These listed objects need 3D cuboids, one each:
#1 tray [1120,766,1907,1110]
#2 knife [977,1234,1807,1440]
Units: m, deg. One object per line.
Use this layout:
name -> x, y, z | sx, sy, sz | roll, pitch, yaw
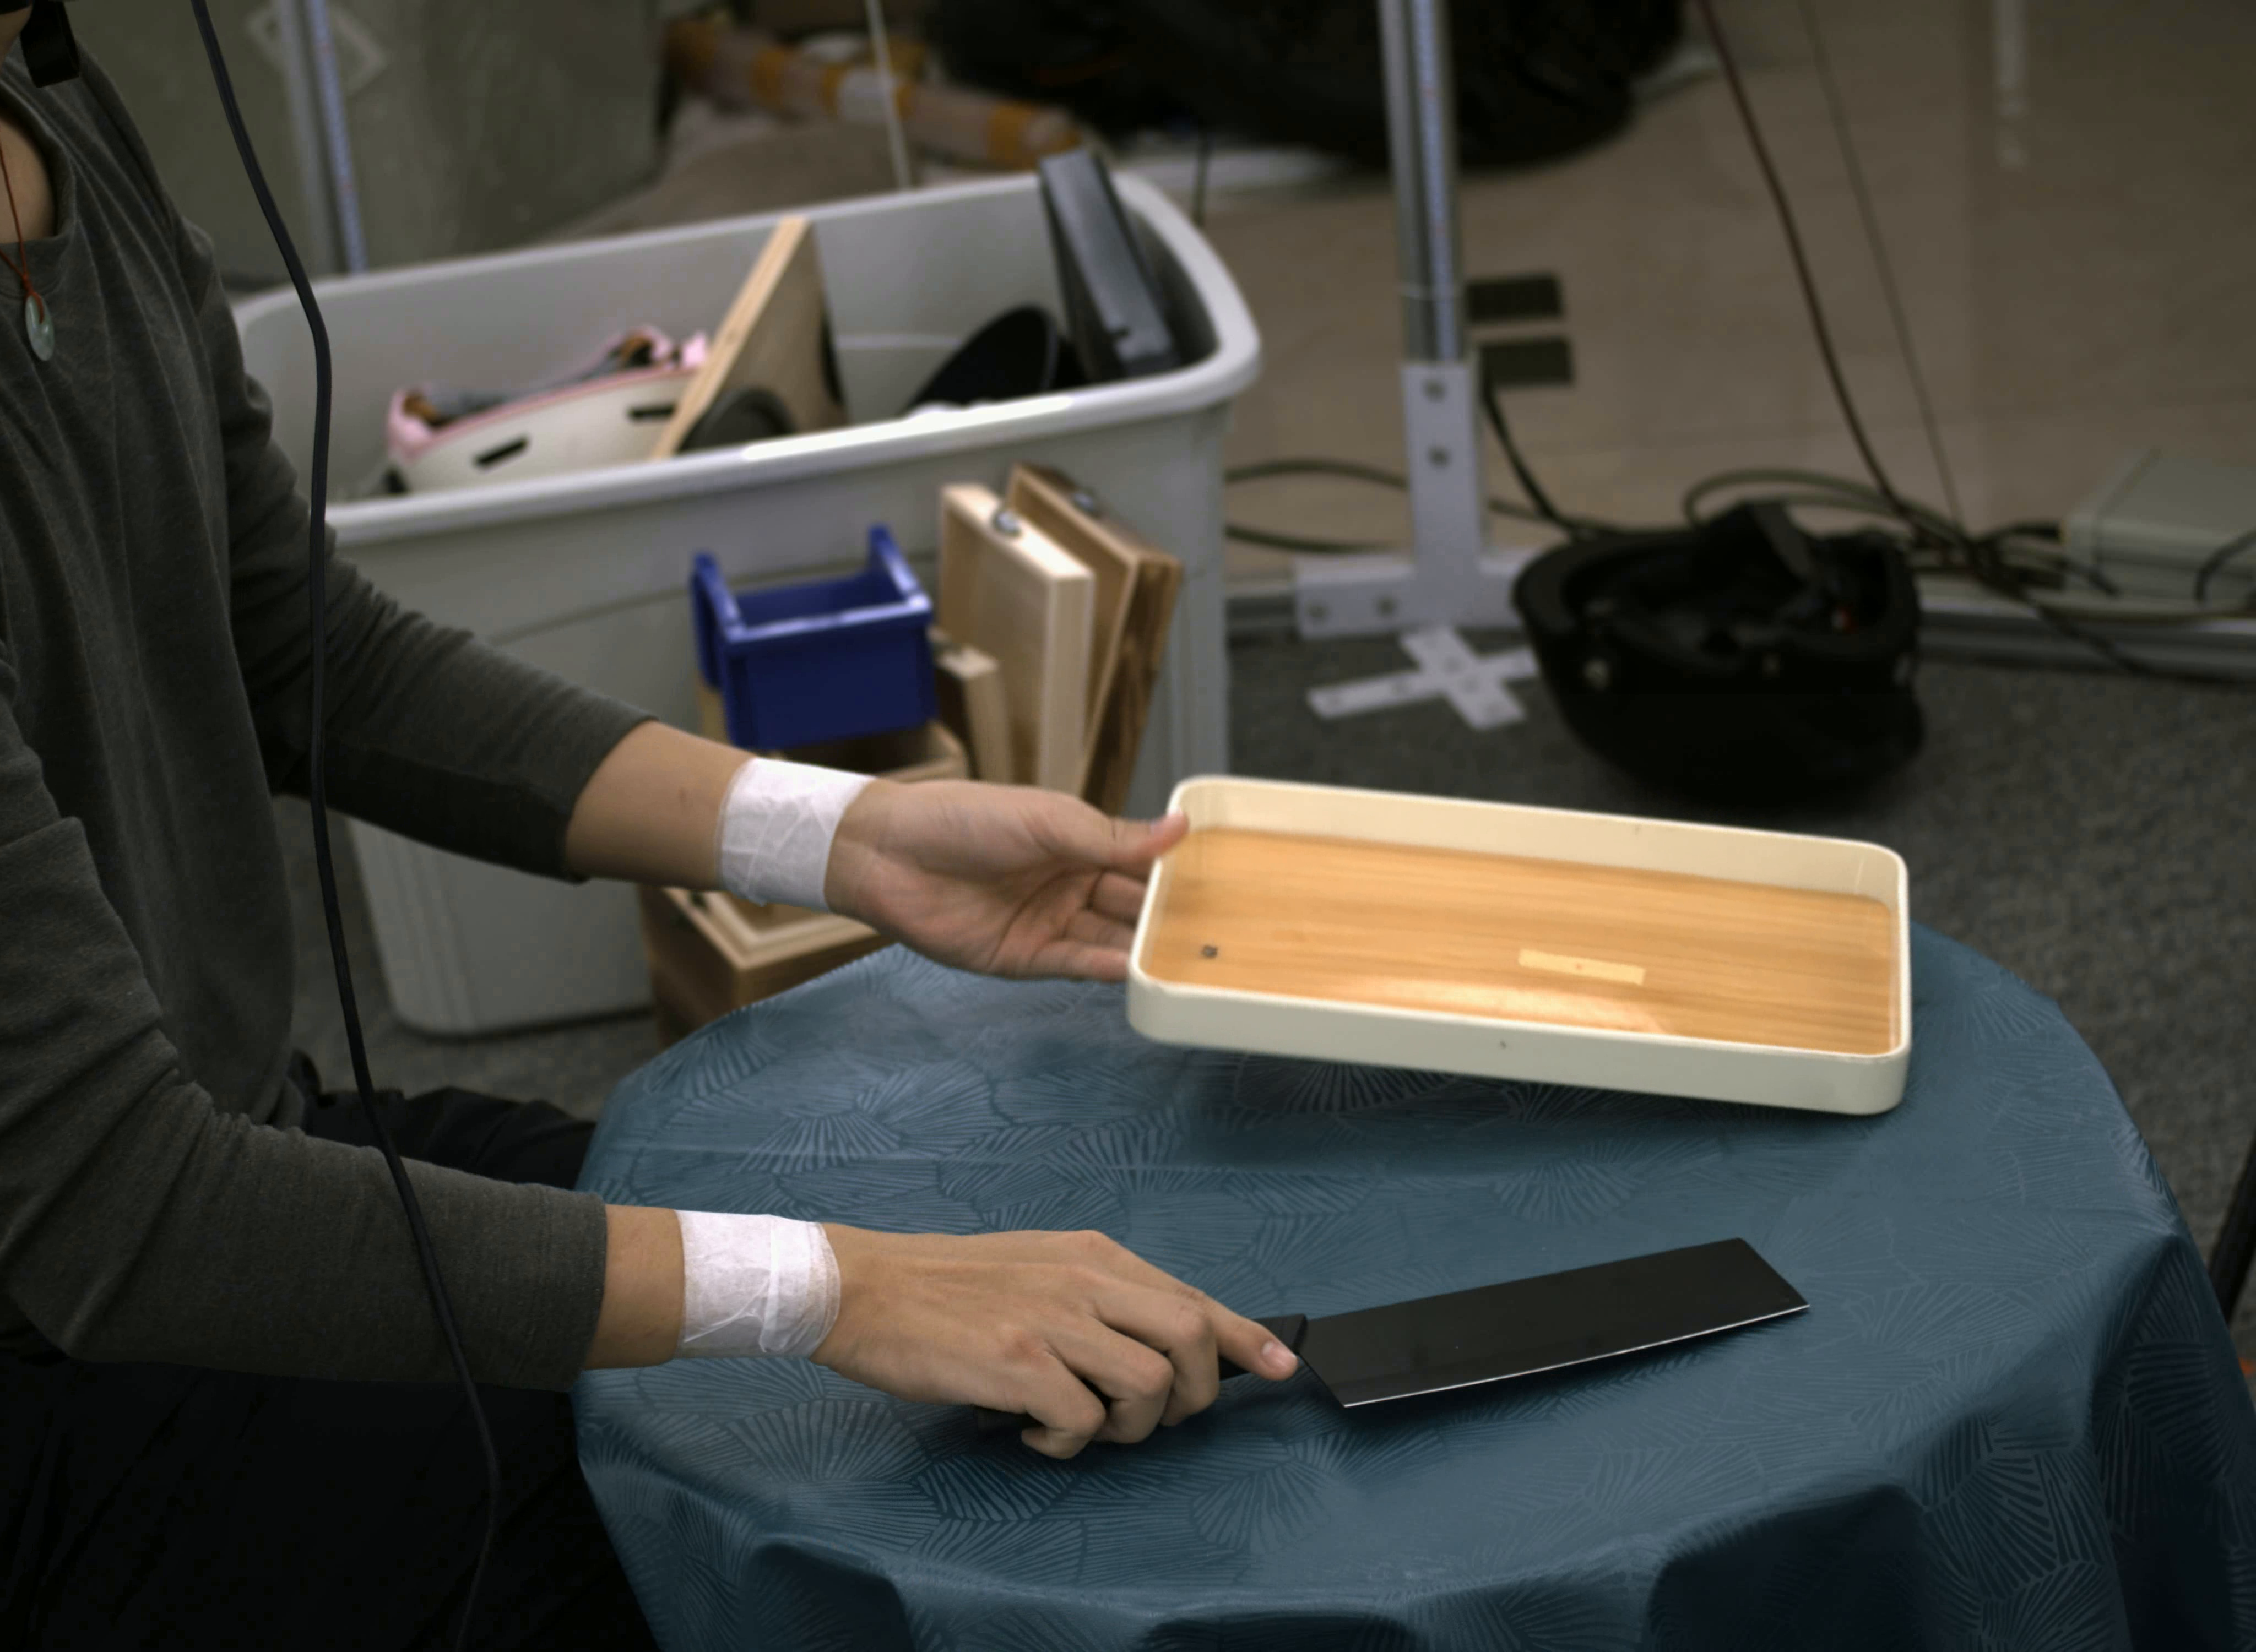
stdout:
tray -> 0.154, 0.042, 2.227 | 0.299, 0.028, 0.189 | 7, 26, 4
knife -> 0.092, 0.183, 2.005 | 0.301, 0.021, 0.080 | -8, 23, -13
